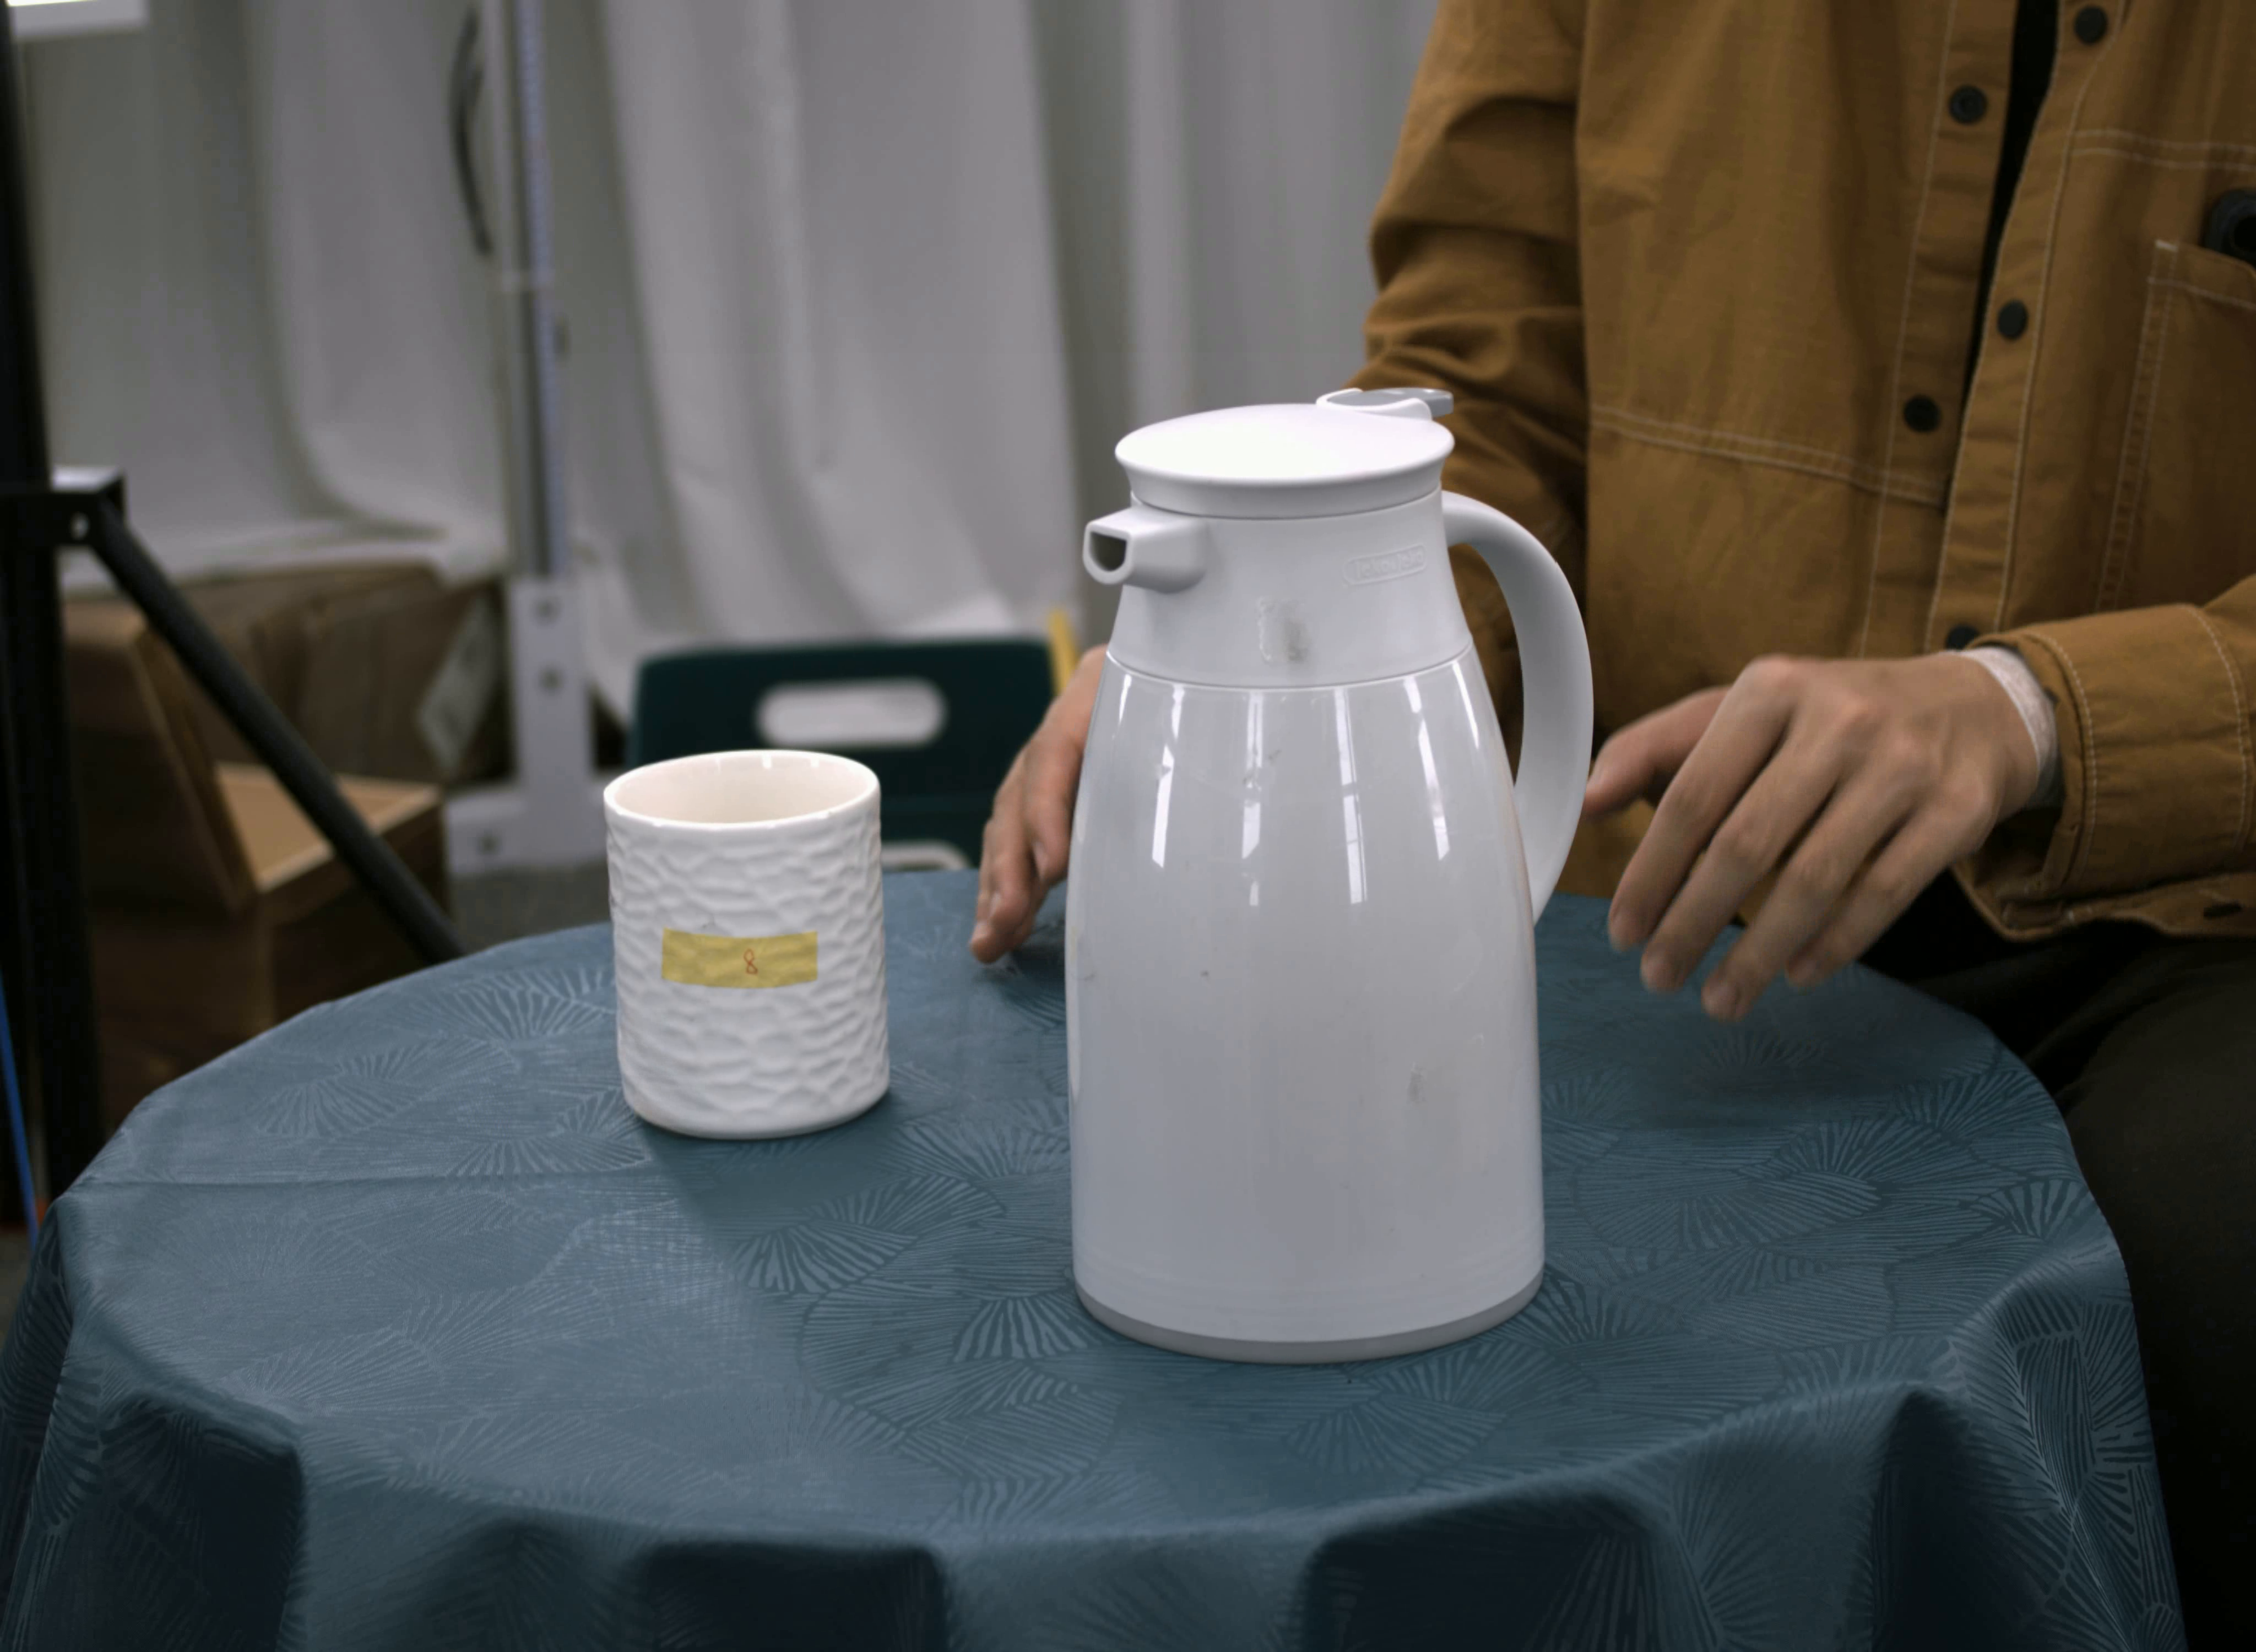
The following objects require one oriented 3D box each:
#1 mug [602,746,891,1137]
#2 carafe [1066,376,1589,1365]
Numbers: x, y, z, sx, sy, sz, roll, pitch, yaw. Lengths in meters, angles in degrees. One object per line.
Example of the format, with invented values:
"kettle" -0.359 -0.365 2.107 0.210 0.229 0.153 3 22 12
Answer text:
"mug" -0.111 0.031 1.655 0.086 0.102 0.117 4 17 22
"carafe" 0.060 0.004 1.459 0.164 0.248 0.135 -13 18 -37
